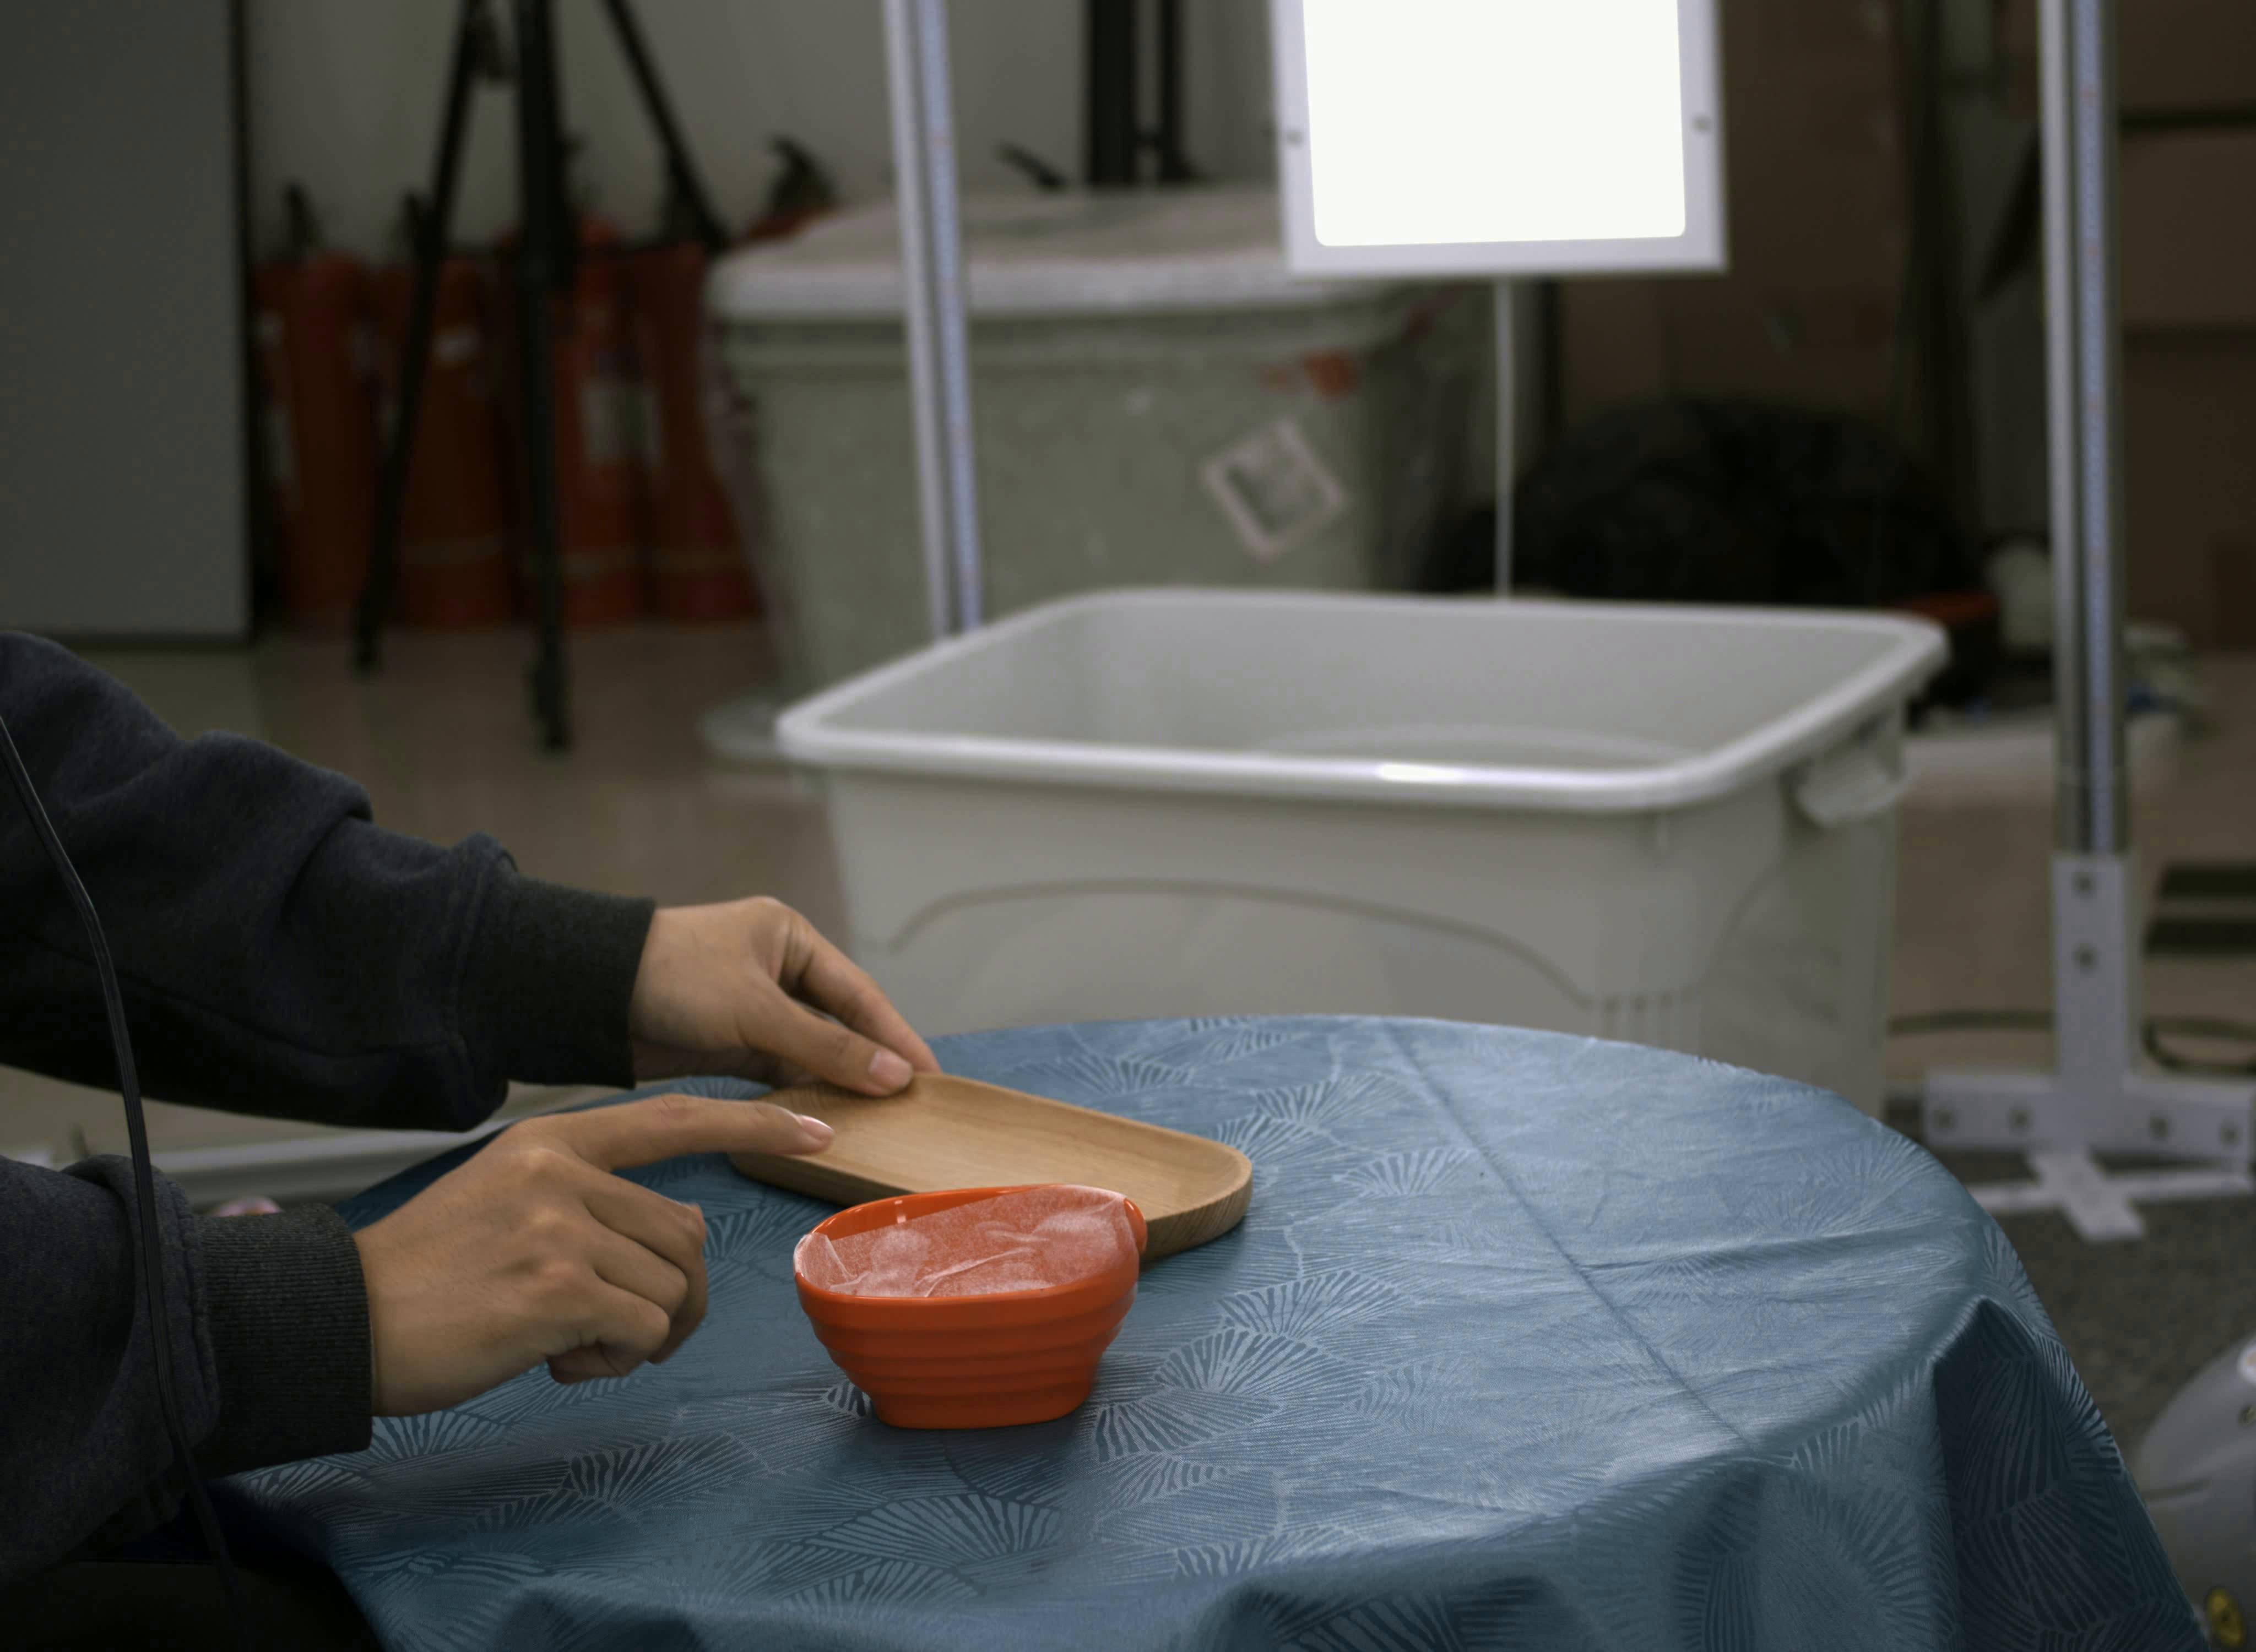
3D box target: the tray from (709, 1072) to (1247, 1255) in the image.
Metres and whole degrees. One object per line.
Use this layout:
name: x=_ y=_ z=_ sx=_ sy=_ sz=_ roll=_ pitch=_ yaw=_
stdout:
tray: x=-0.054 y=0.118 z=1.919 sx=0.099 sy=0.020 sz=0.236 roll=-16 pitch=16 yaw=-40

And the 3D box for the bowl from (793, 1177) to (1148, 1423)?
bowl: x=-0.047 y=0.149 z=1.705 sx=0.118 sy=0.051 sz=0.119 roll=-3 pitch=15 yaw=0
